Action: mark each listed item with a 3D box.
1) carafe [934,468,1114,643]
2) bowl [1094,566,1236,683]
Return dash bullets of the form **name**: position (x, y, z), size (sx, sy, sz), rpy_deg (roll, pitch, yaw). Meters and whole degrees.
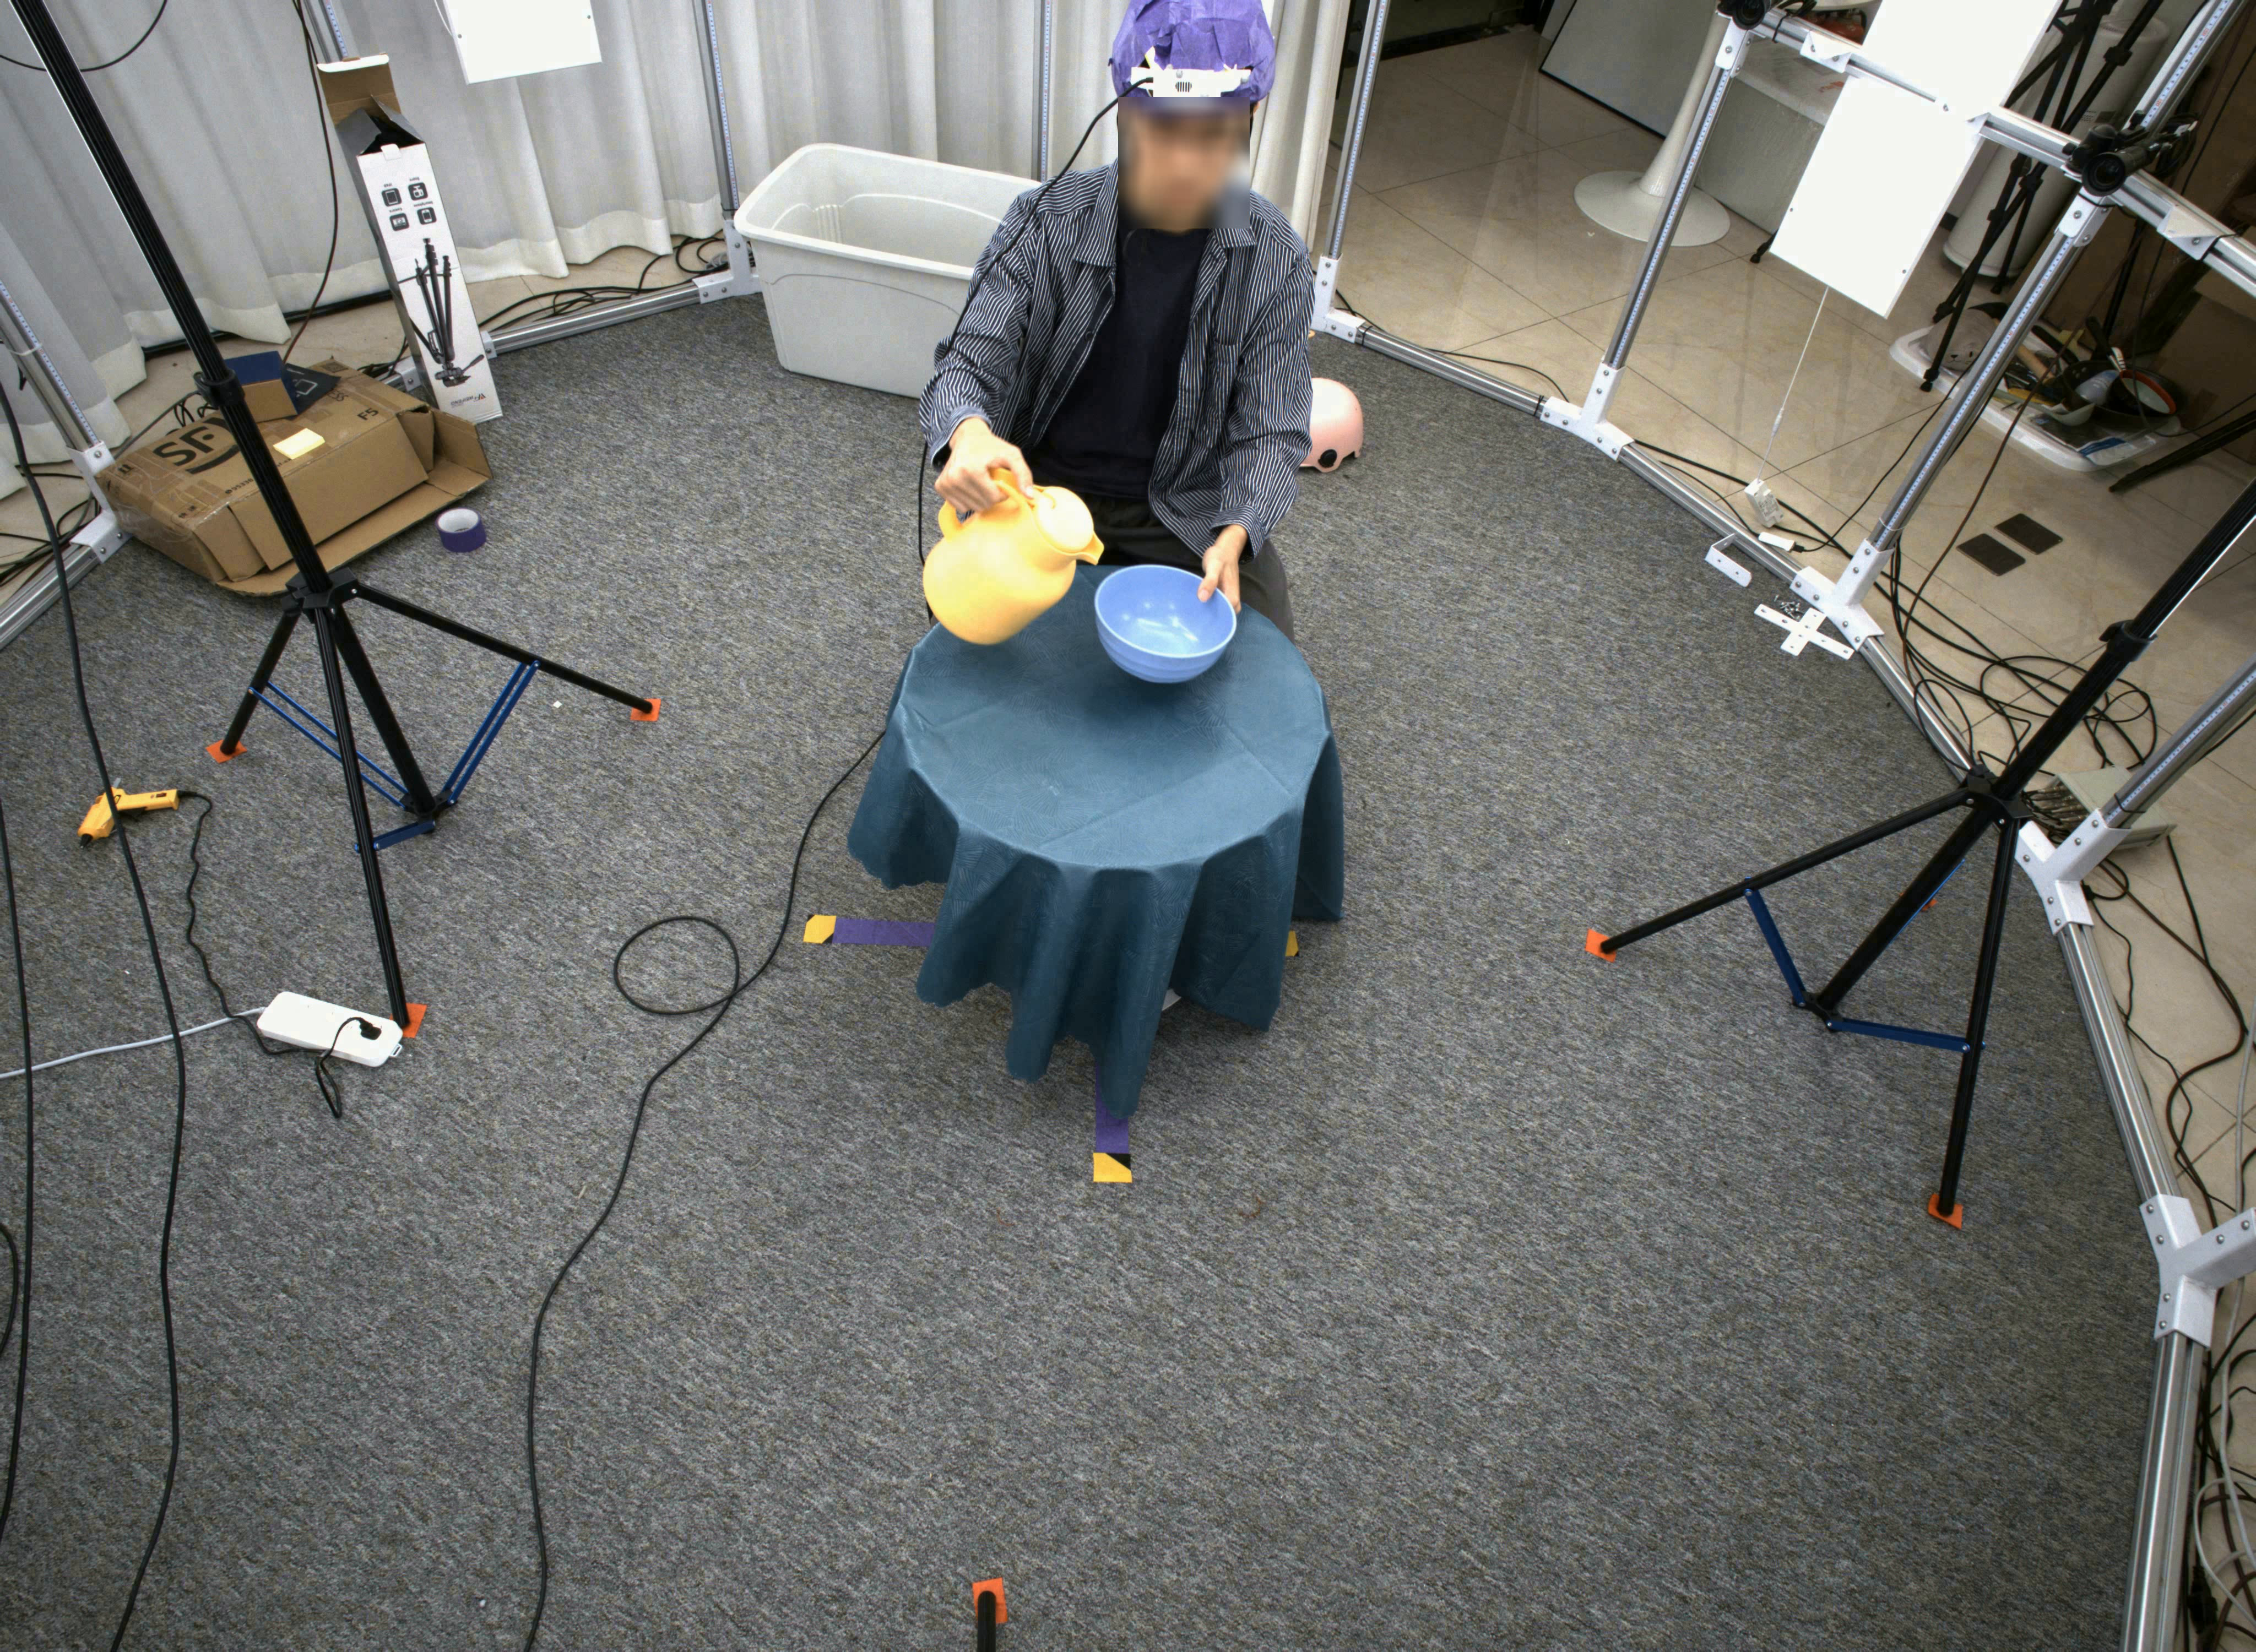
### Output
- **carafe**: position (-0.154, -0.372, 1.728), size (0.200, 0.258, 0.167), rpy_deg (36, 53, -22)
- **bowl**: position (0.044, -0.263, 1.777), size (0.196, 0.093, 0.201), rpy_deg (6, 46, -7)
